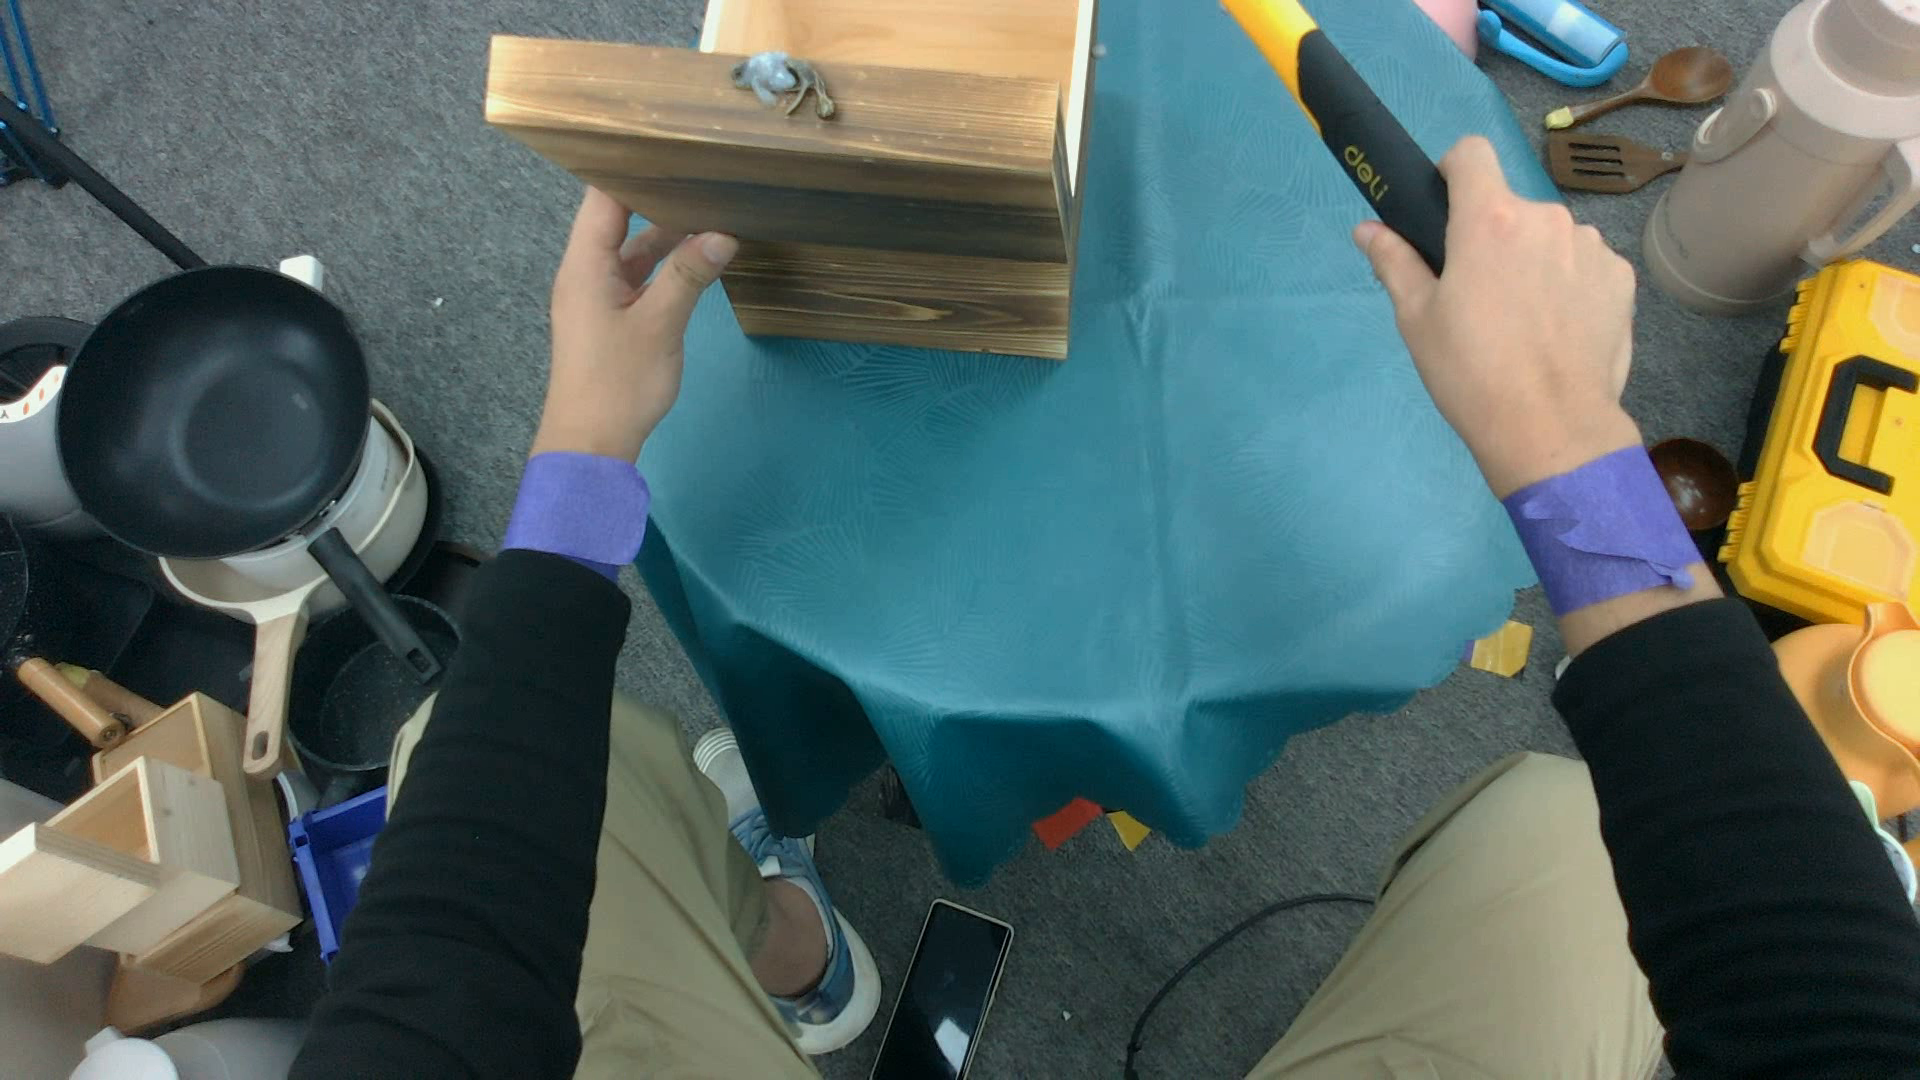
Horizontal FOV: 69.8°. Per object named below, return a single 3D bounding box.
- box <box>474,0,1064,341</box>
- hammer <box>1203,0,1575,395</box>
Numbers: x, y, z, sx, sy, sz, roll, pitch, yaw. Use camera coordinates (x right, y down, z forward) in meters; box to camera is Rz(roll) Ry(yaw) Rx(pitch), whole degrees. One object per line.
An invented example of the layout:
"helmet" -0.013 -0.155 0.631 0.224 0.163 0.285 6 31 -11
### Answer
"box" -0.053 -0.238 0.684 0.208 0.374 0.323 5 70 4
"hammer" 0.160 -0.206 0.629 0.032 0.131 0.339 -31 79 -17
